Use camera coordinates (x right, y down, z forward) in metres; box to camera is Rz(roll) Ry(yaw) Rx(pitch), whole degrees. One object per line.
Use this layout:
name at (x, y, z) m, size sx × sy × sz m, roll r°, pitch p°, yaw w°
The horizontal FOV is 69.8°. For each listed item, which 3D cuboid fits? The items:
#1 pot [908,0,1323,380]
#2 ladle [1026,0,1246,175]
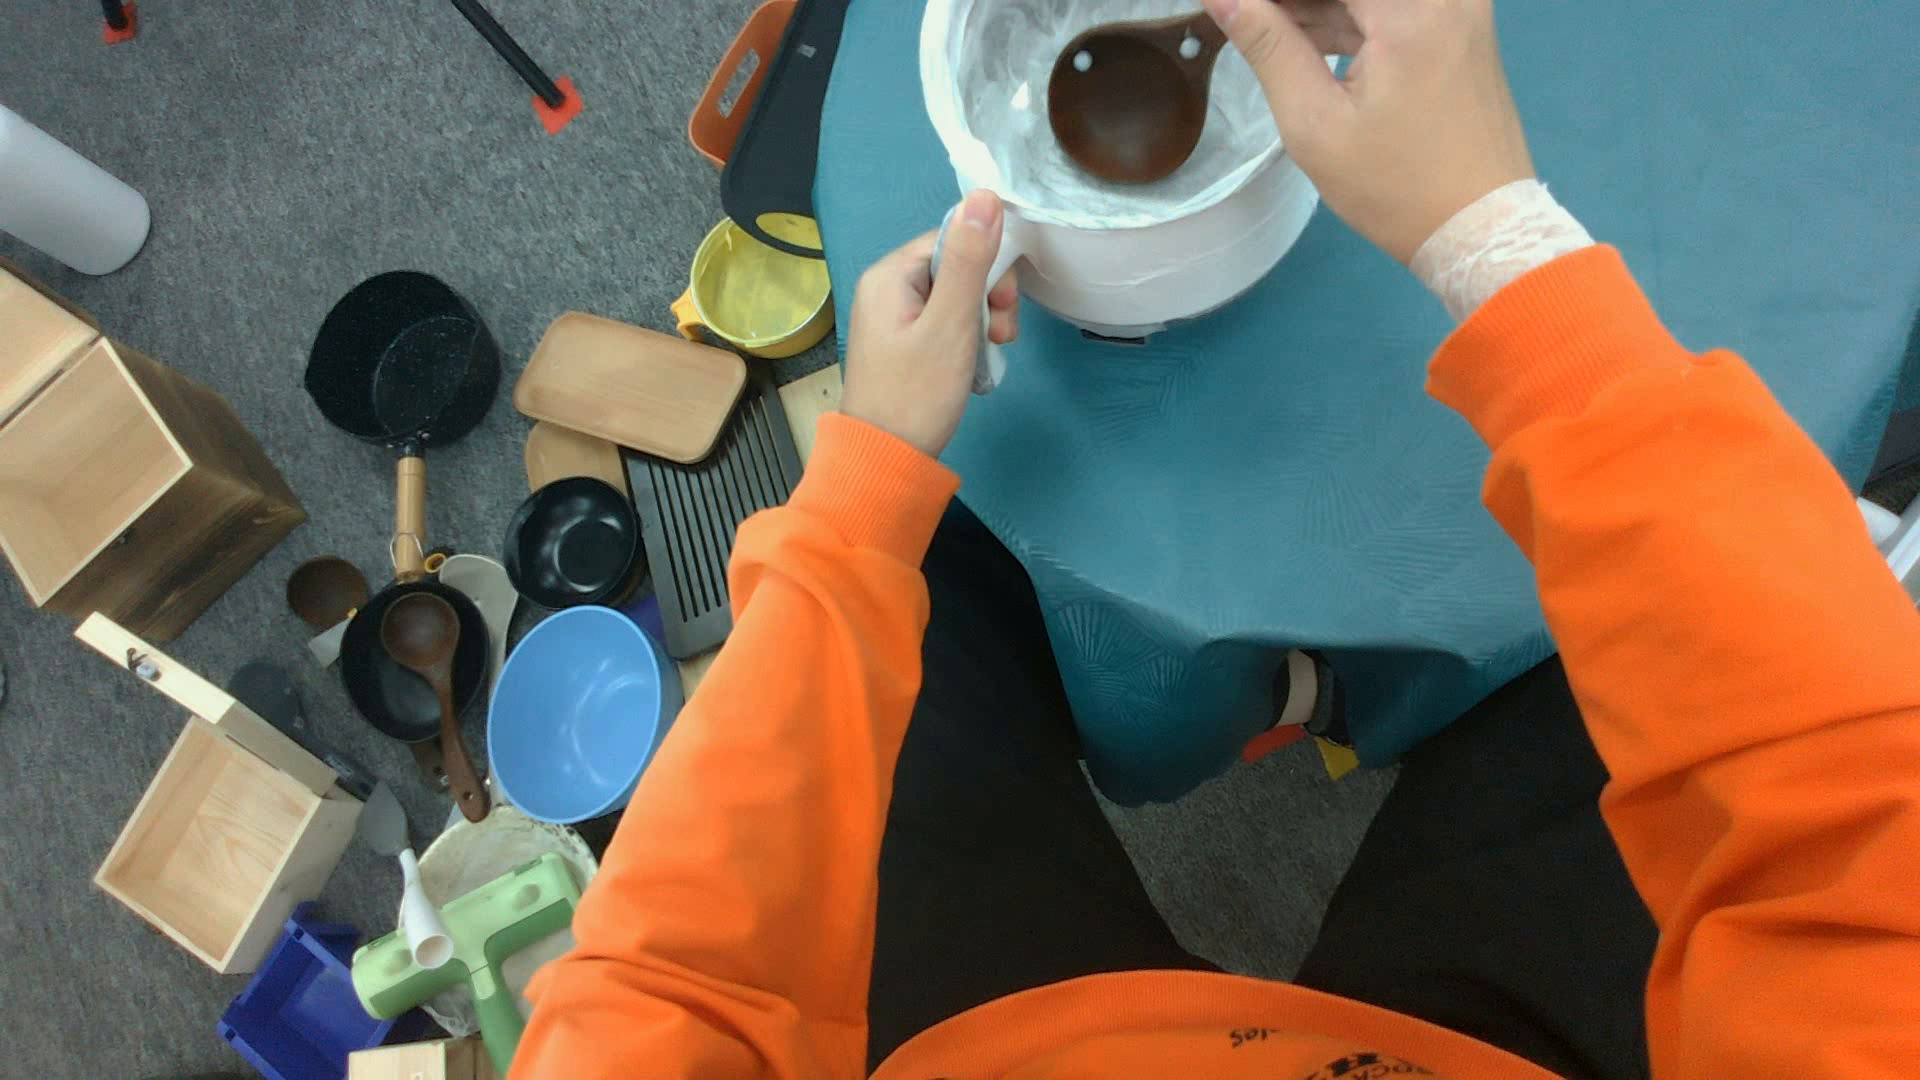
pot at (0.058, -0.182, 0.641) m, size 0.179 × 0.136 × 0.234 m, roll 37°, pitch 85°, yaw 18°
ladle at (0.089, -0.201, 0.535) m, size 0.076 × 0.260 × 0.065 m, roll 37°, pitch 85°, yaw -11°
